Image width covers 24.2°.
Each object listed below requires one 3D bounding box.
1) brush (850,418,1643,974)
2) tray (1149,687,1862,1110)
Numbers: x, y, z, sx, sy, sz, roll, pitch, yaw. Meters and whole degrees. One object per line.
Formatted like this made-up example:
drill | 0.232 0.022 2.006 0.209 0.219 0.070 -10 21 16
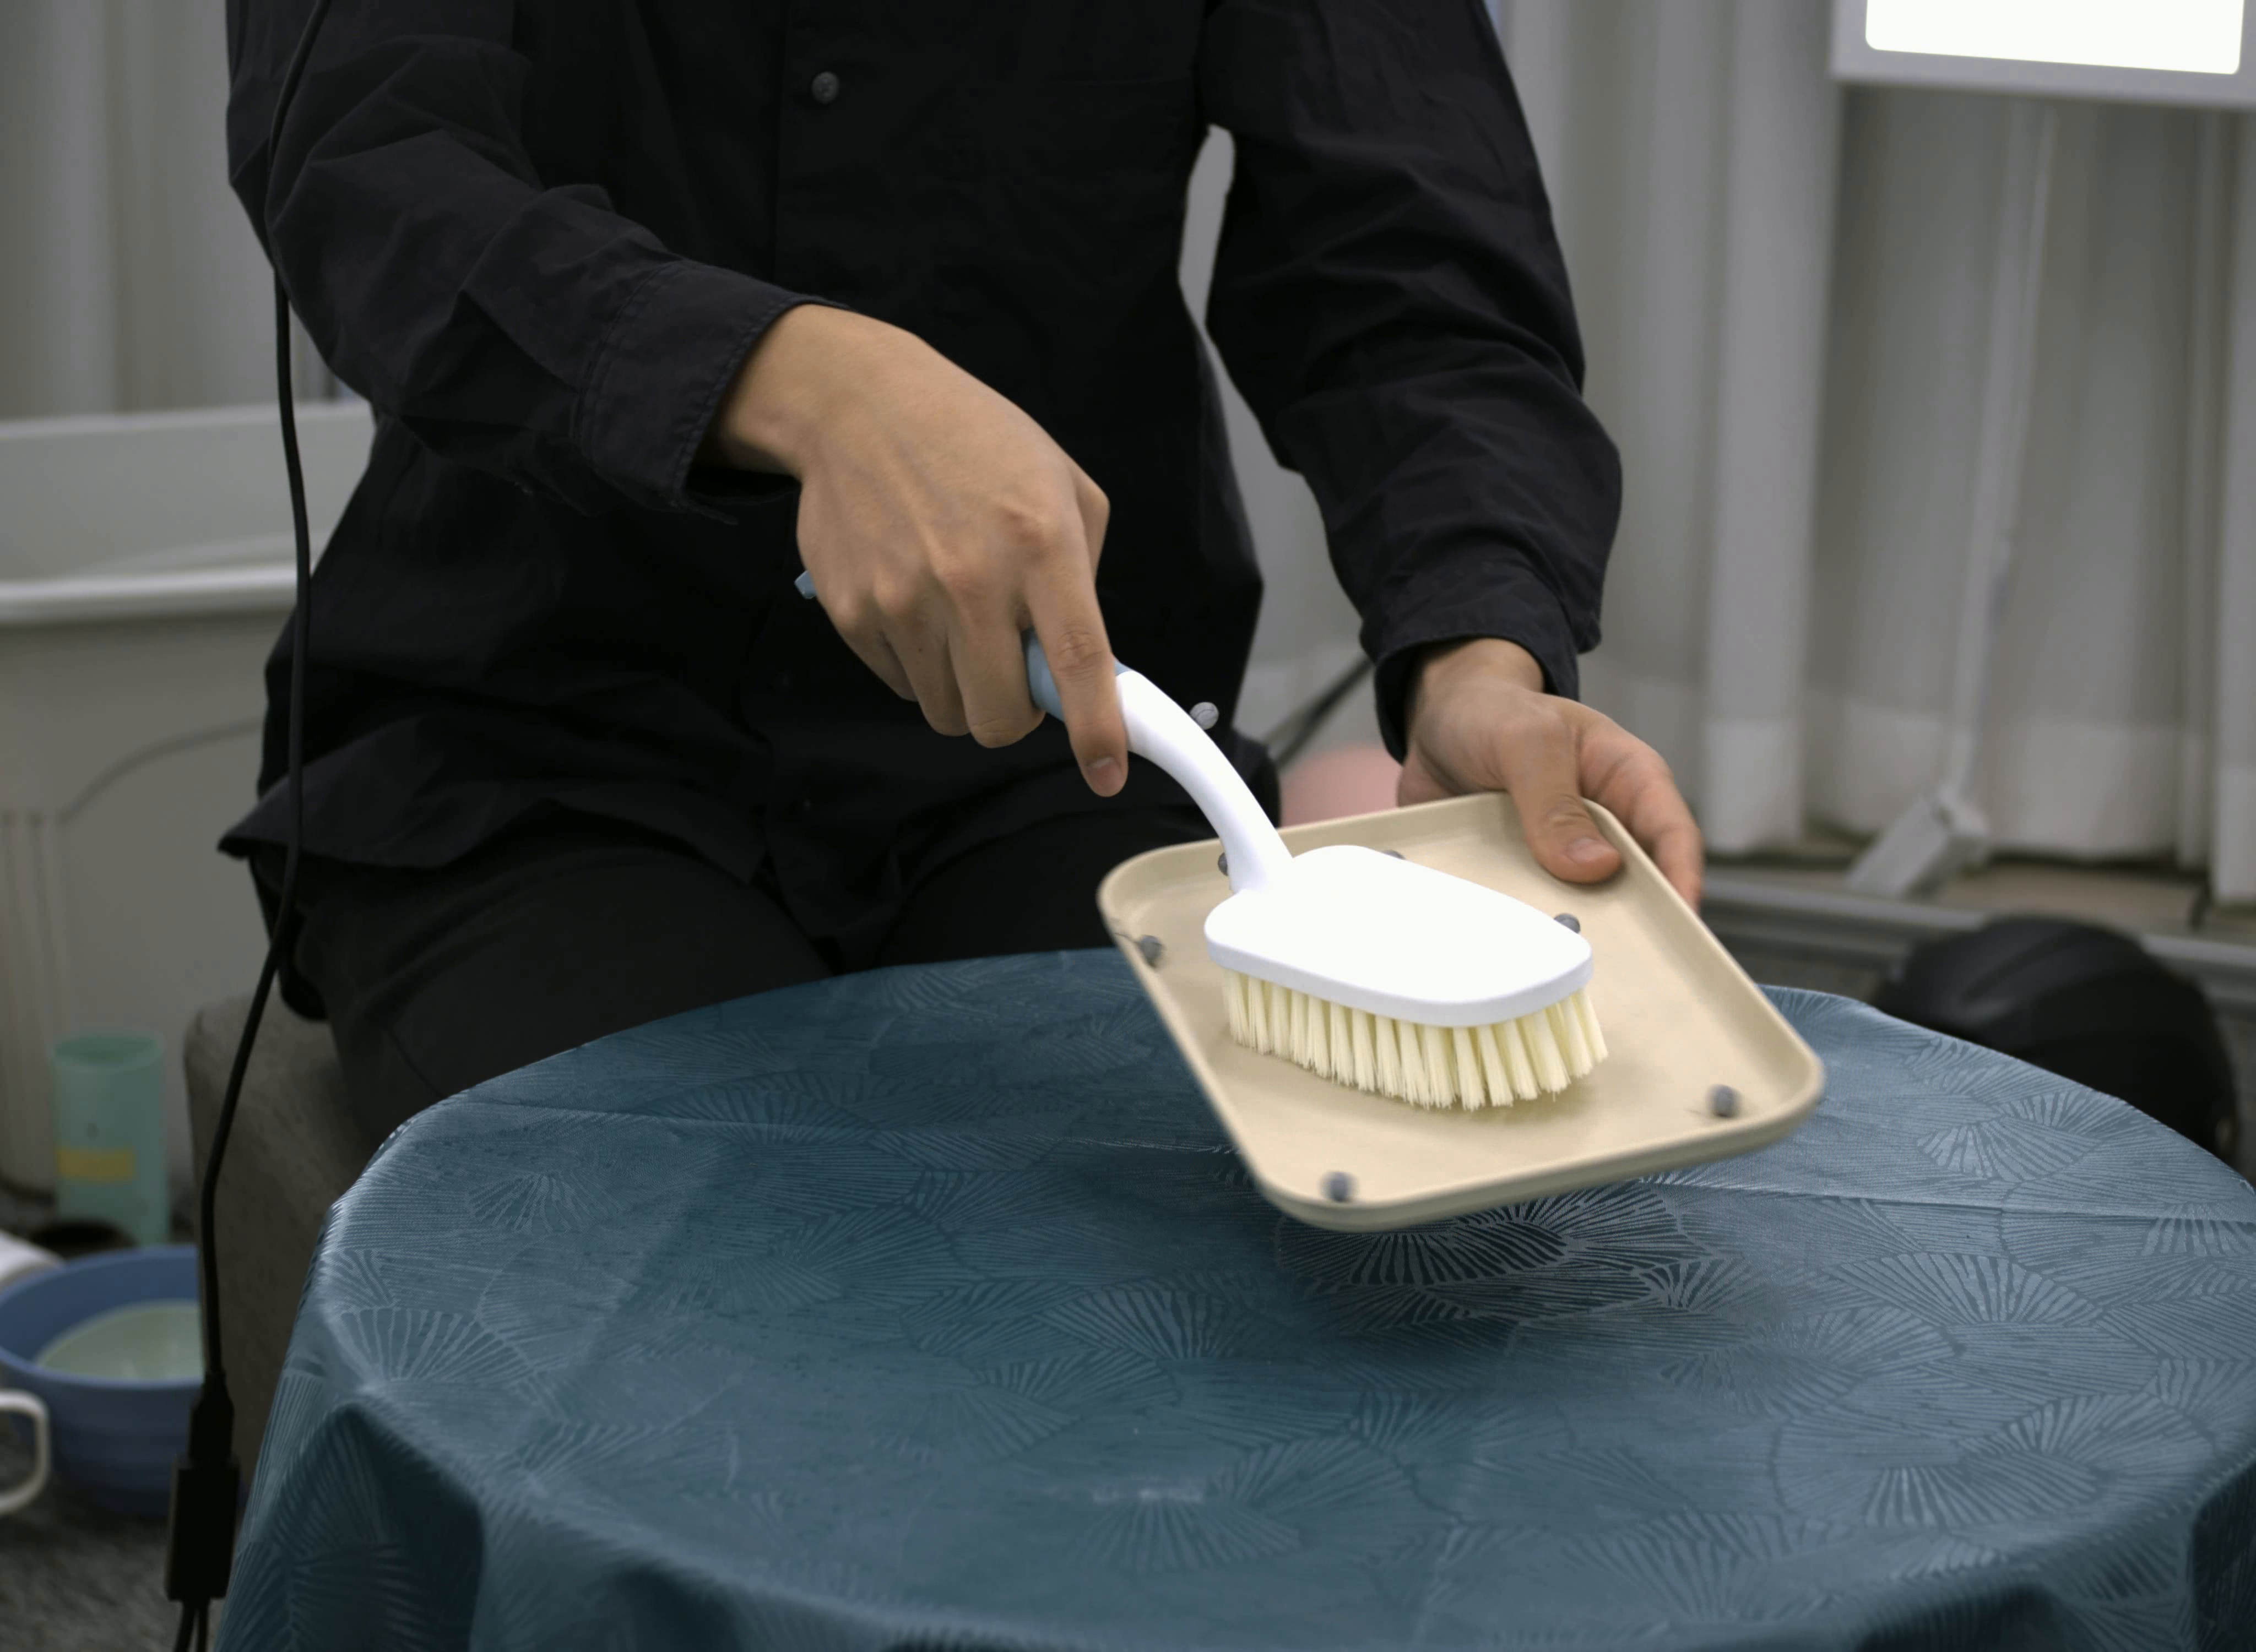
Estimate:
brush | 0.032 -0.031 1.650 0.321 0.085 0.084 30 6 33
tray | 0.112 0.020 1.616 0.171 0.017 0.237 -10 27 -11
